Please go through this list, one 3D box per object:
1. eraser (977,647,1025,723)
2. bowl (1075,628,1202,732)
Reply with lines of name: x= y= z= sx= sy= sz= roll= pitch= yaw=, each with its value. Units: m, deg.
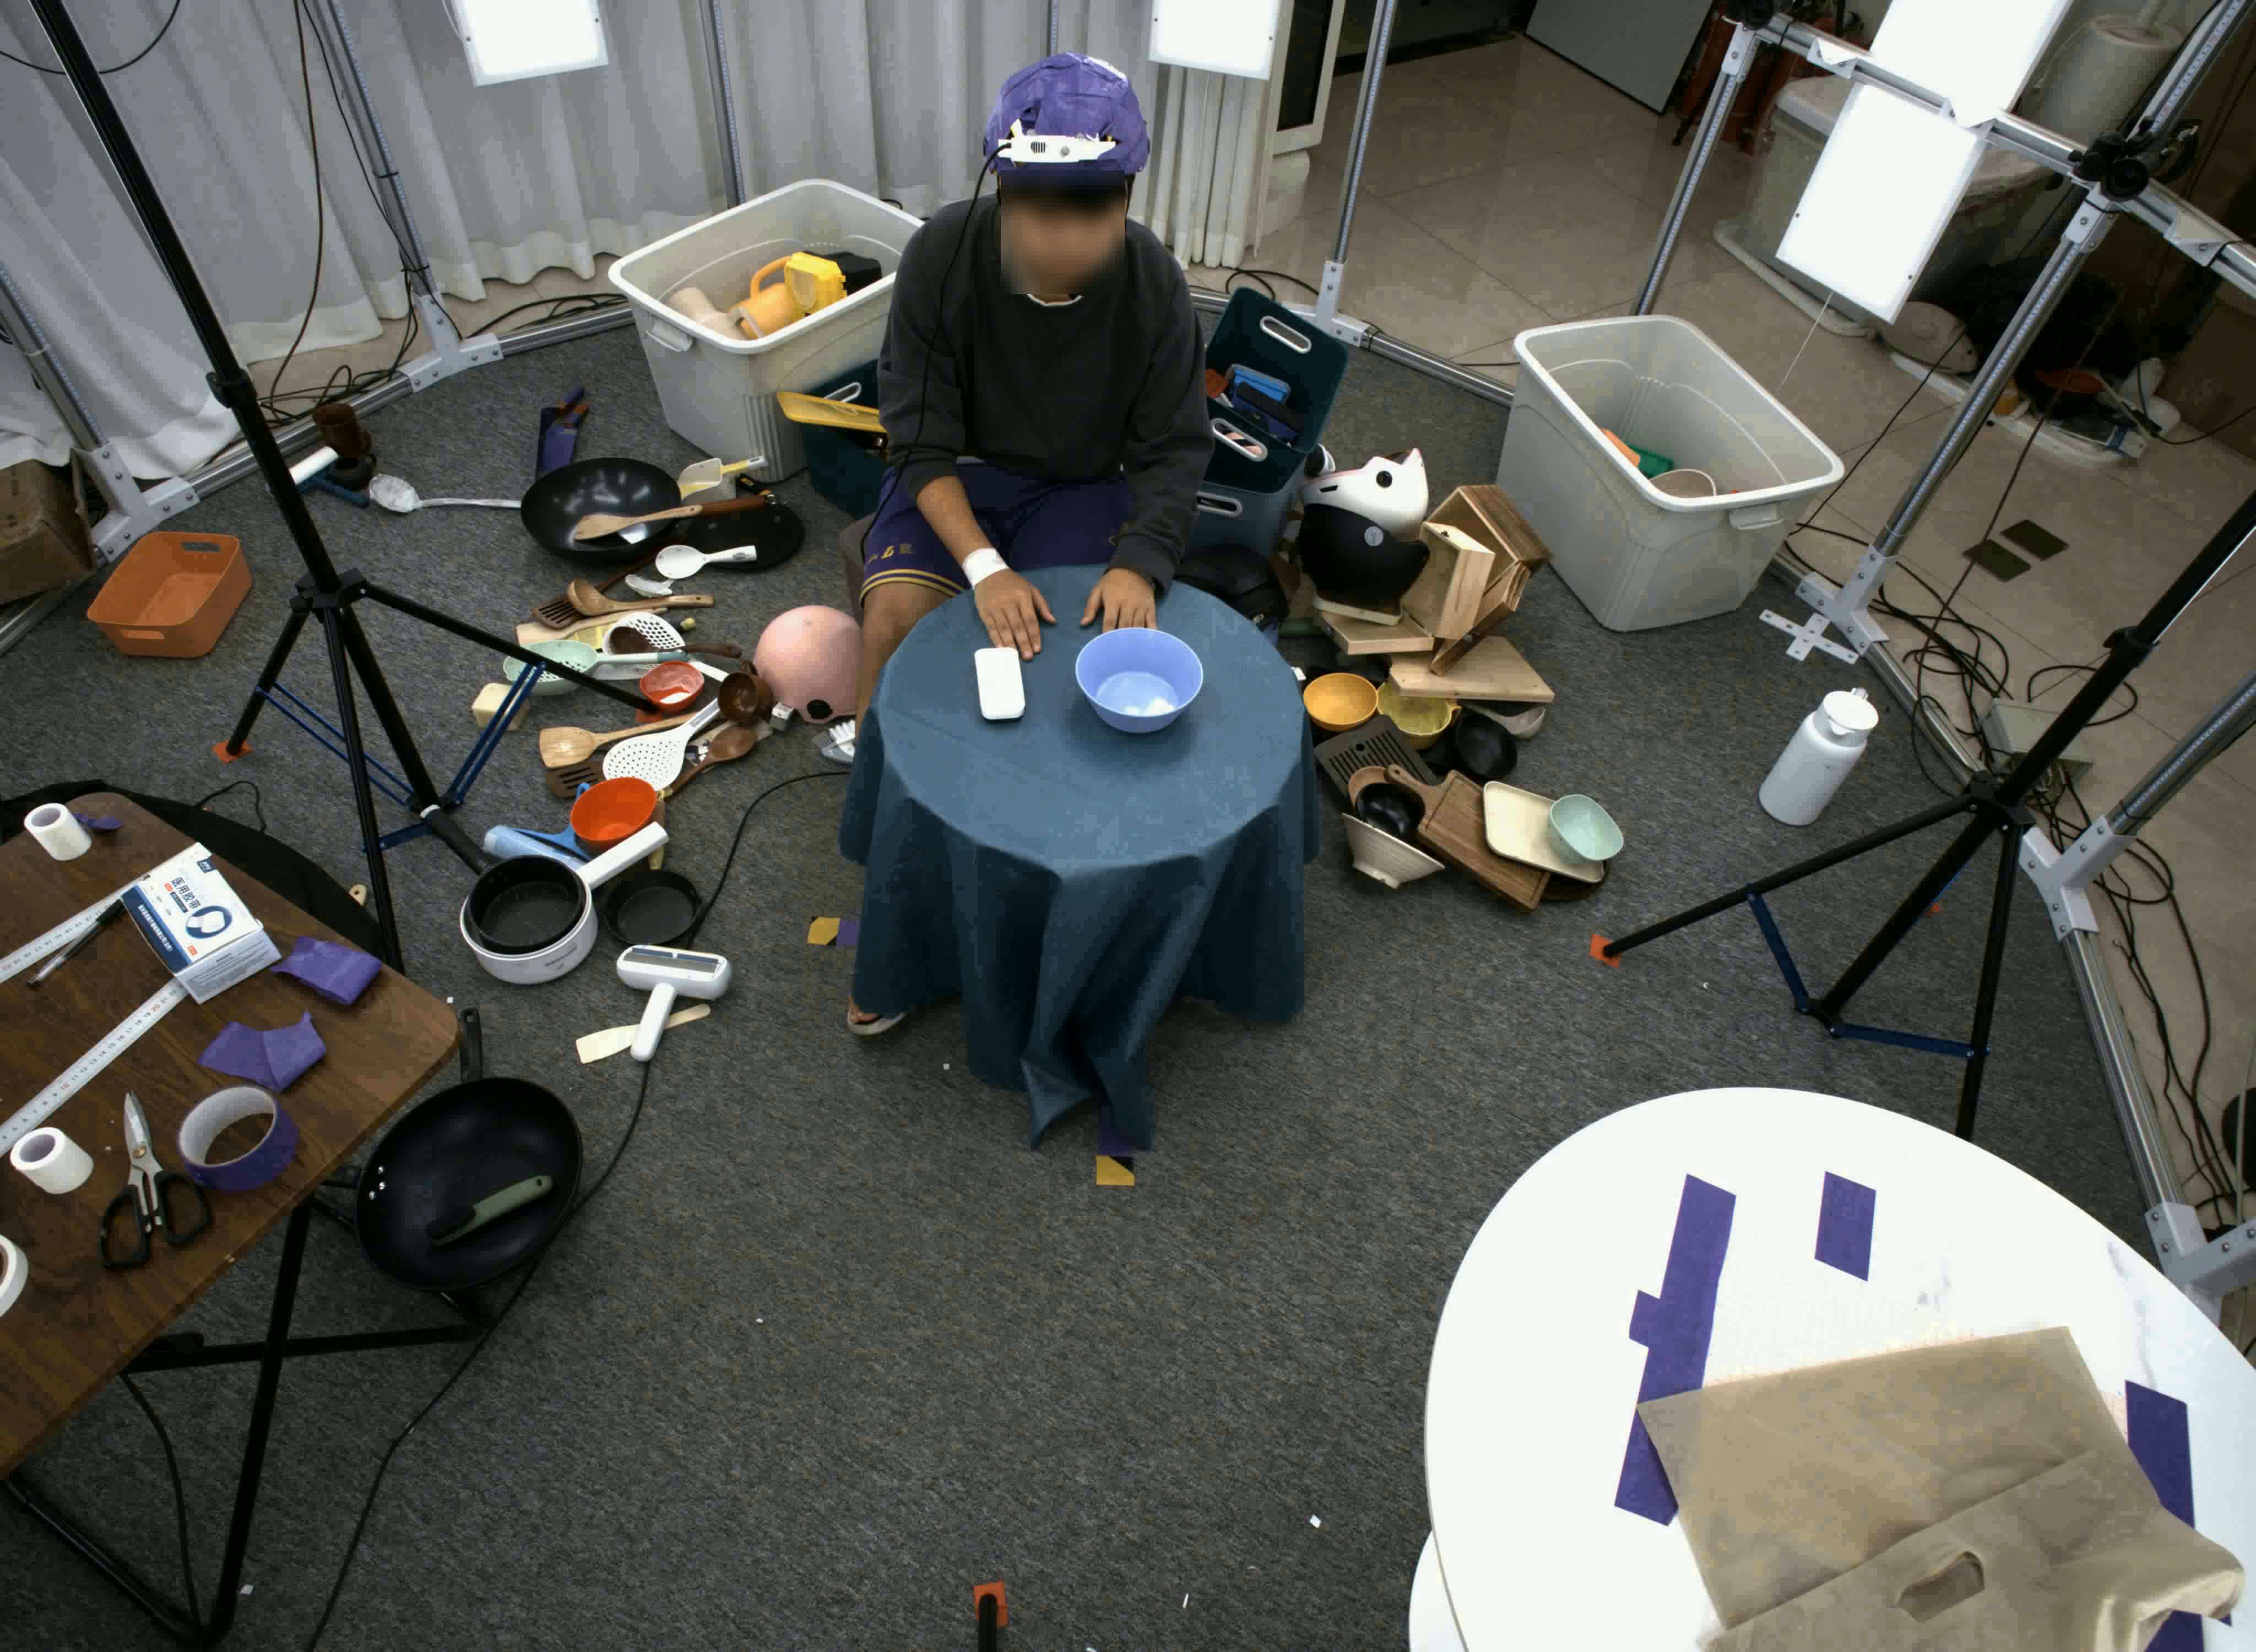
eraser: x=-0.178 y=-0.202 z=1.809 sx=0.063 sy=0.034 sz=0.134 roll=-2 pitch=51 yaw=-8
bowl: x=0.012 y=-0.194 z=1.790 sx=0.176 sy=0.068 sz=0.180 roll=2 pitch=49 yaw=-3
